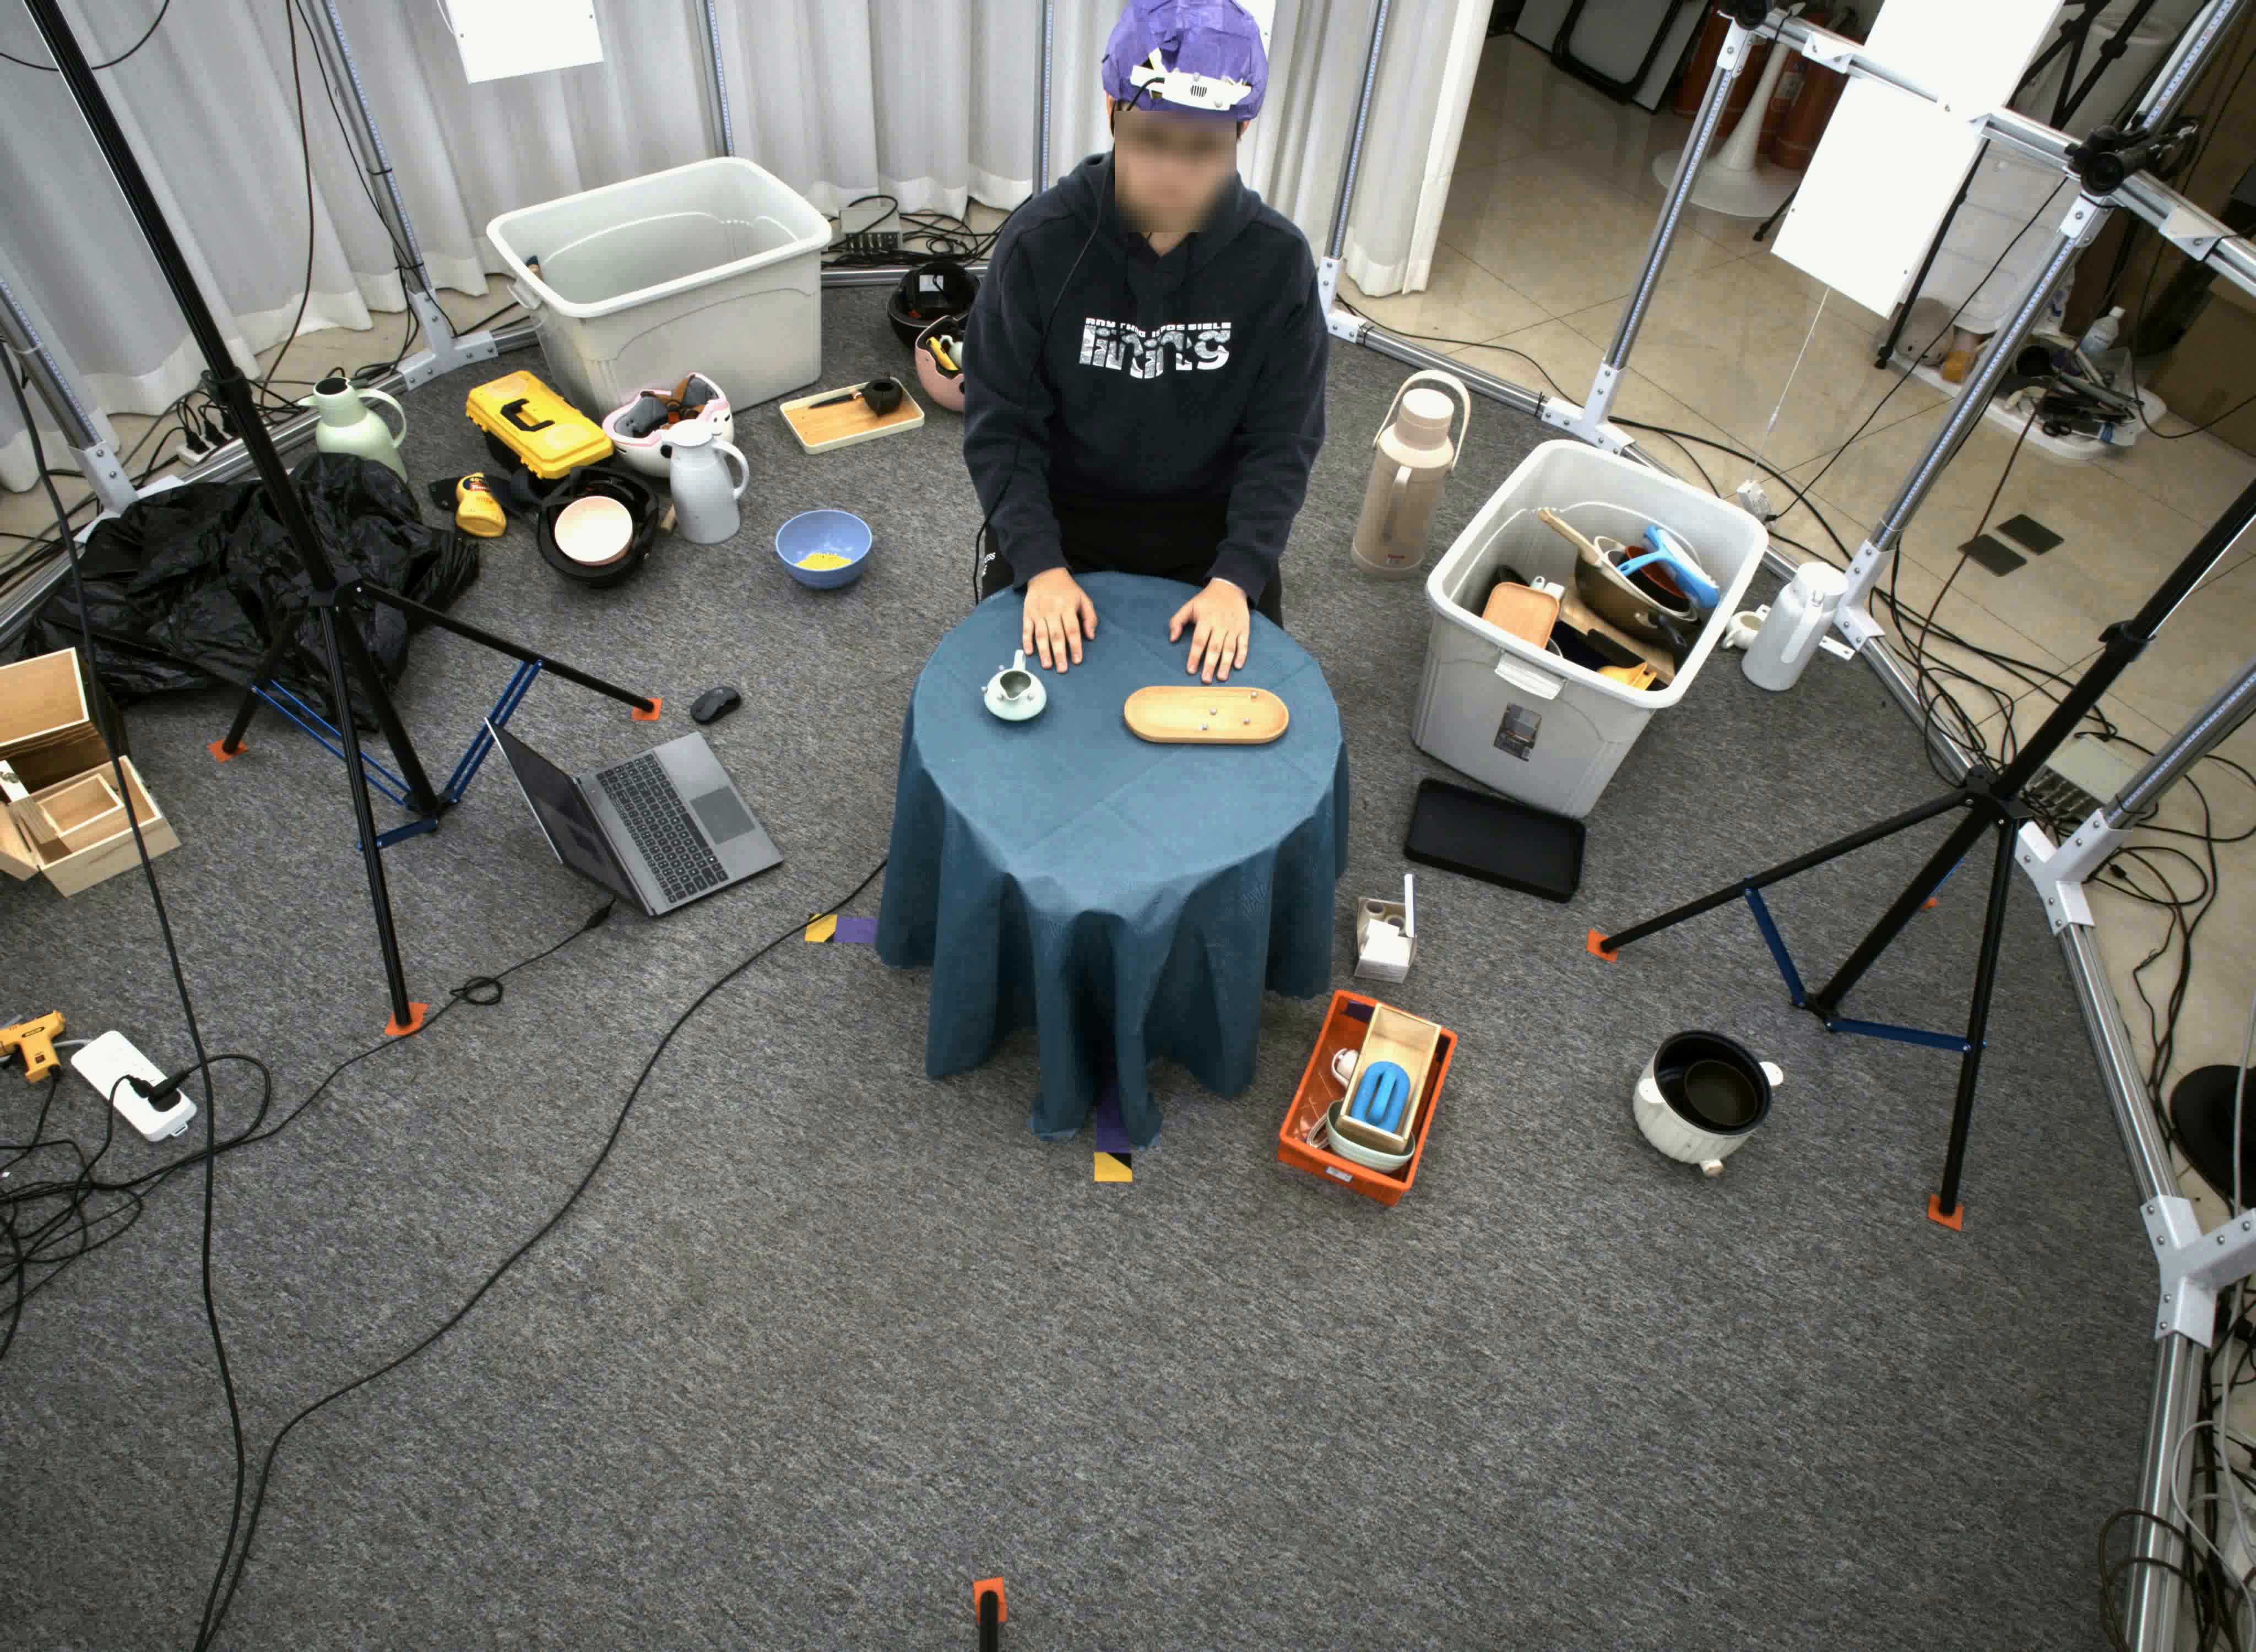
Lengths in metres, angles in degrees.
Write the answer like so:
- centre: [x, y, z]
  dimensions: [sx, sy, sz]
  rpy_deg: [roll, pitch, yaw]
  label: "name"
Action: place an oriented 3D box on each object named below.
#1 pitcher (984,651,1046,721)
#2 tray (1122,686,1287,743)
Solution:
- centre: [-0.155, -0.193, 1.785]
  dimensions: [0.086, 0.059, 0.110]
  rpy_deg: [5, 47, -2]
  label: "pitcher"
- centre: [0.107, -0.156, 1.799]
  dimensions: [0.231, 0.020, 0.104]
  rpy_deg: [-1, 48, -3]
  label: "tray"
